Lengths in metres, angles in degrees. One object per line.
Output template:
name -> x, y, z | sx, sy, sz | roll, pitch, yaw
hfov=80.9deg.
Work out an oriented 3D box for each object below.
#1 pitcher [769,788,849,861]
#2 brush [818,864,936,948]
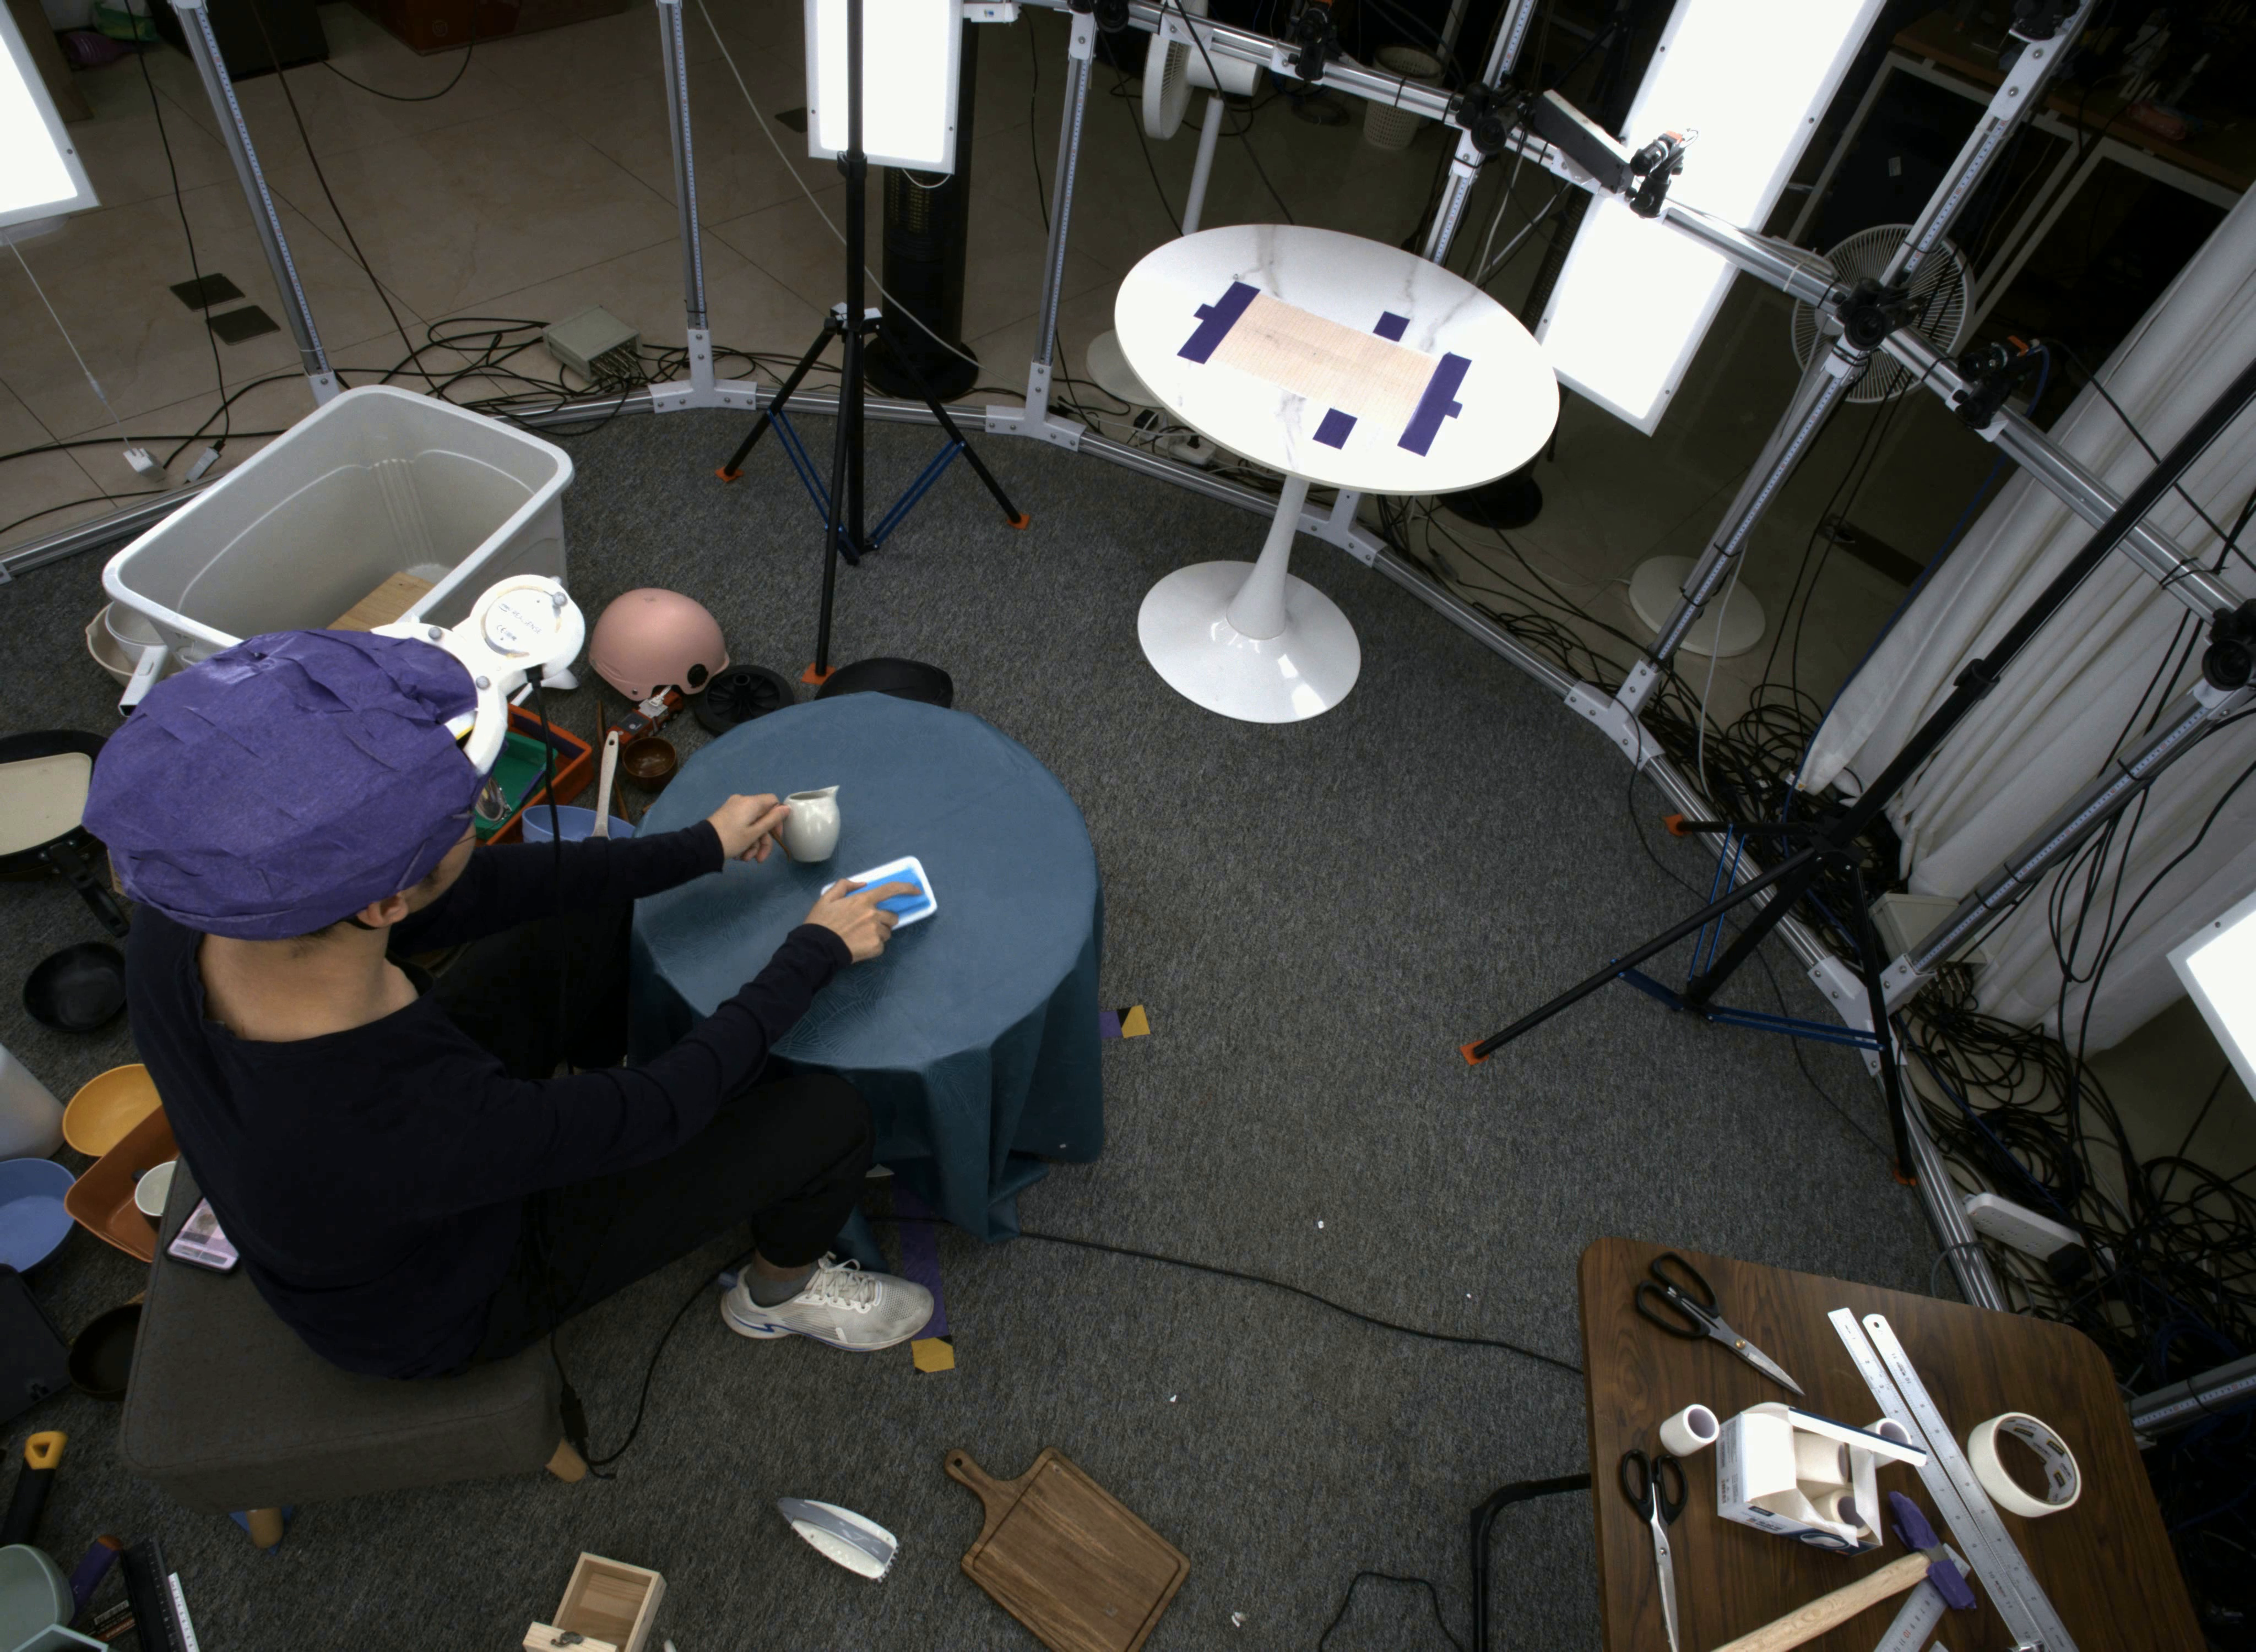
pitcher -> -0.407, -0.002, 1.666 | 0.073, 0.089, 0.121 | 10, 12, 42
brush -> -0.312, 0.093, 1.627 | 0.145, 0.055, 0.084 | -16, 83, -29
